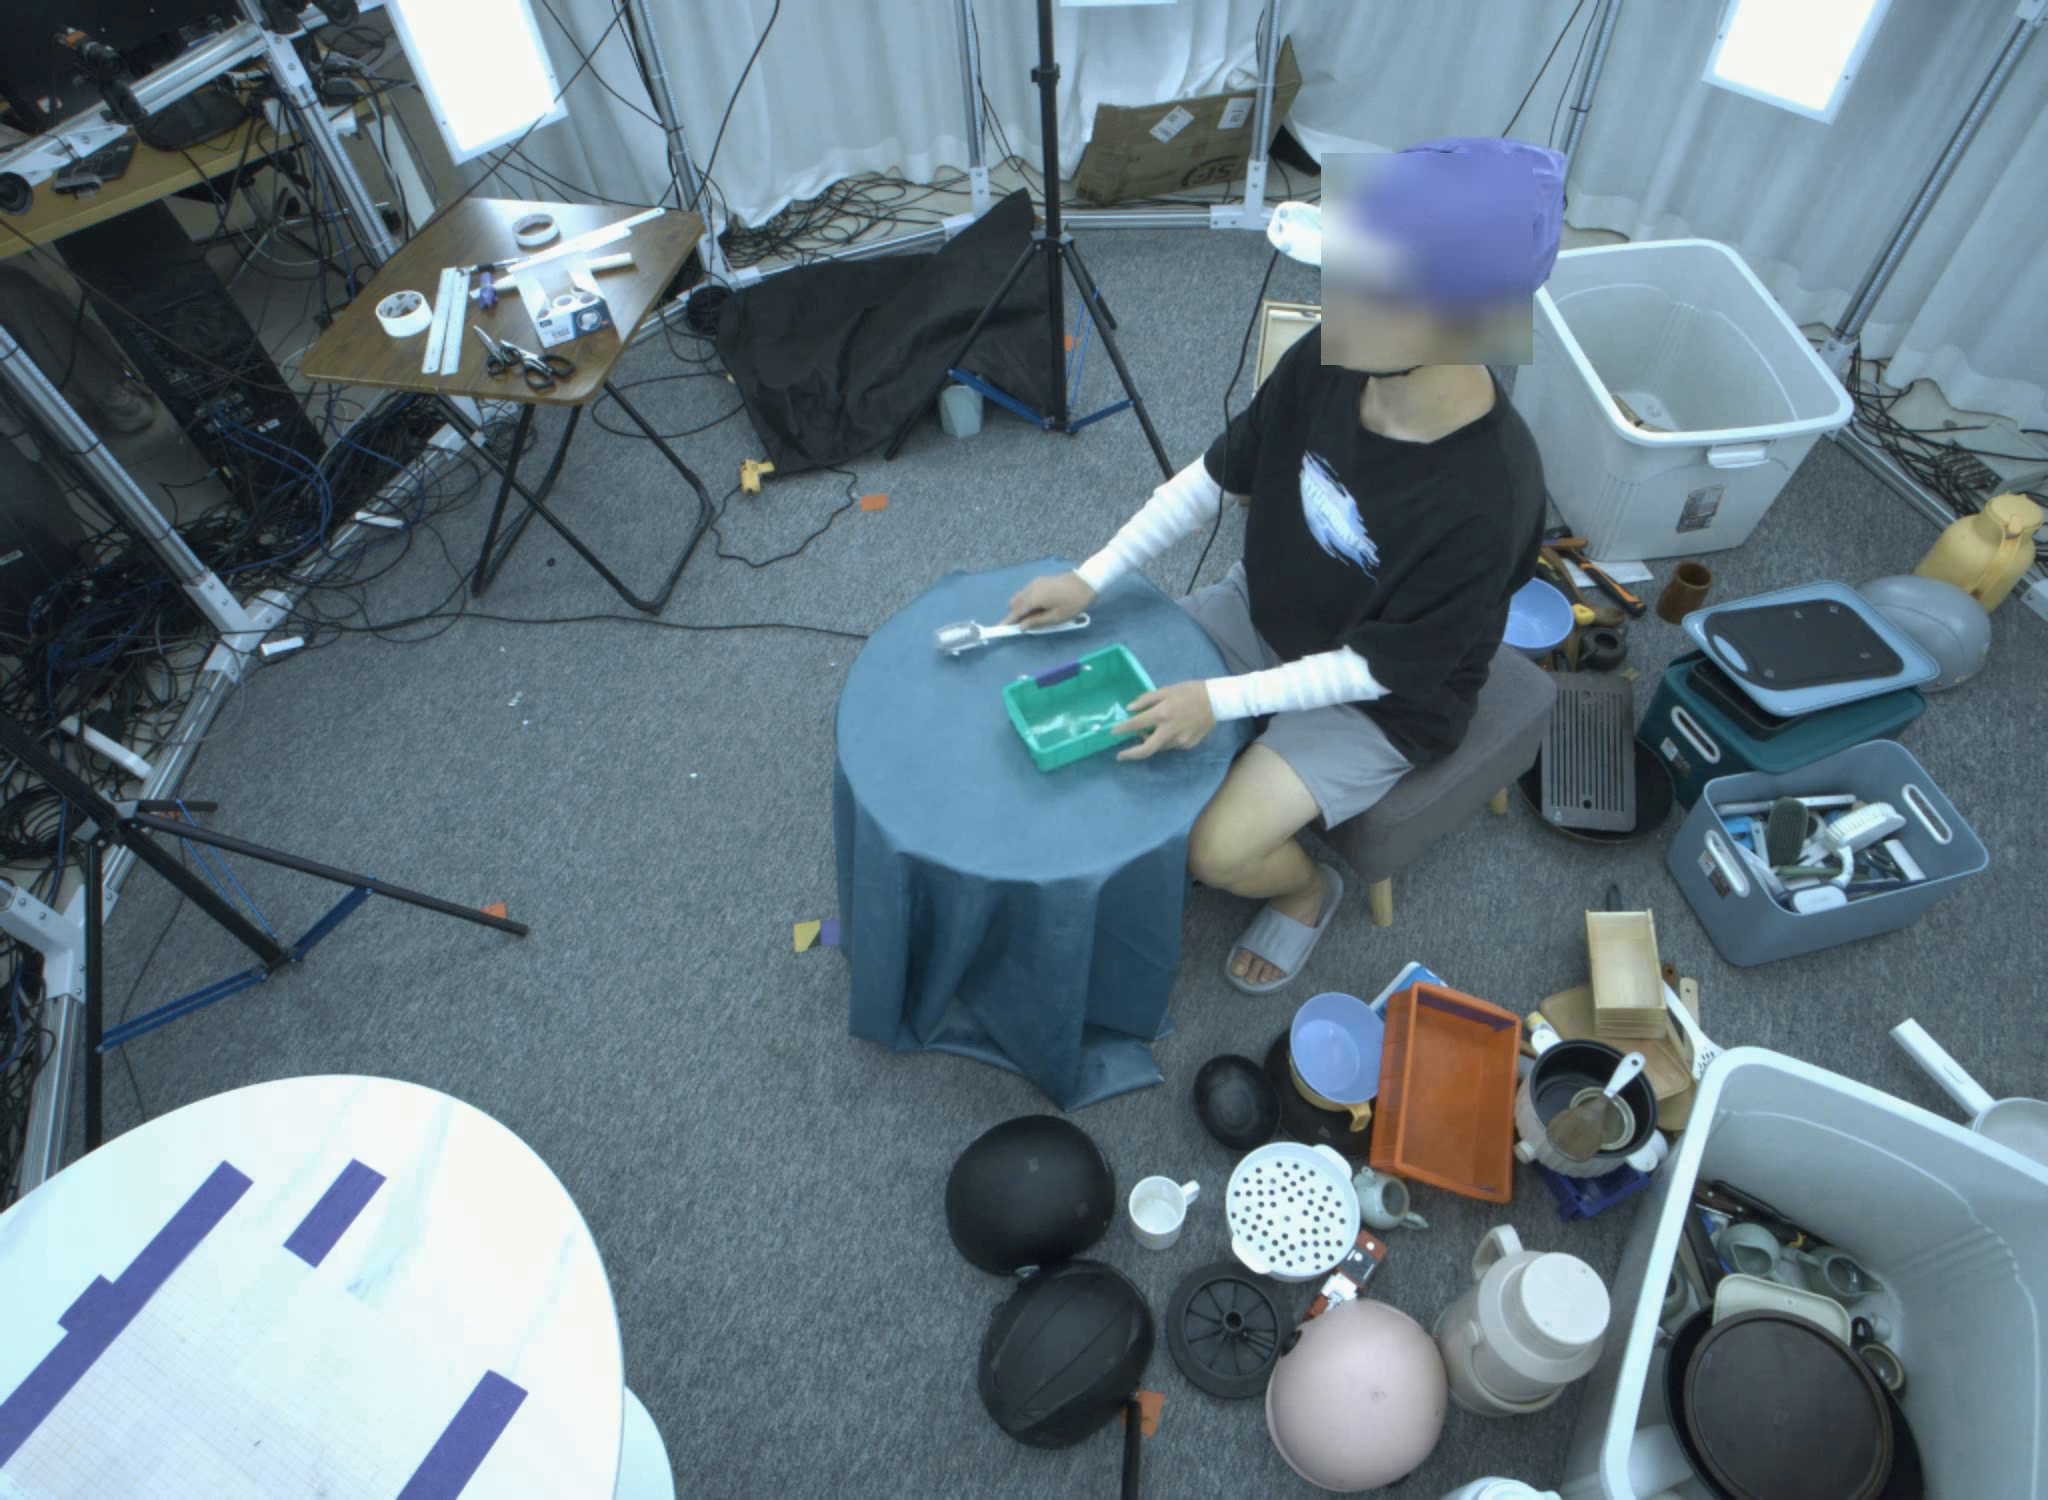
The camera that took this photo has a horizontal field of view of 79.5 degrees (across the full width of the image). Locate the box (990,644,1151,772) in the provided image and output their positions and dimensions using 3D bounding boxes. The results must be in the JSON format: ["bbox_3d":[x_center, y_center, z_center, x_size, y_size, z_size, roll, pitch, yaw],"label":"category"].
[{"bbox_3d":[0.067,-0.058,1.780,0.212,0.066,0.136,-22,54,-14],"label":"box"}]

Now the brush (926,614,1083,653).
[{"bbox_3d":[-0.028,-0.187,1.882,0.245,0.050,0.034,-9,78,-6],"label":"brush"}]
